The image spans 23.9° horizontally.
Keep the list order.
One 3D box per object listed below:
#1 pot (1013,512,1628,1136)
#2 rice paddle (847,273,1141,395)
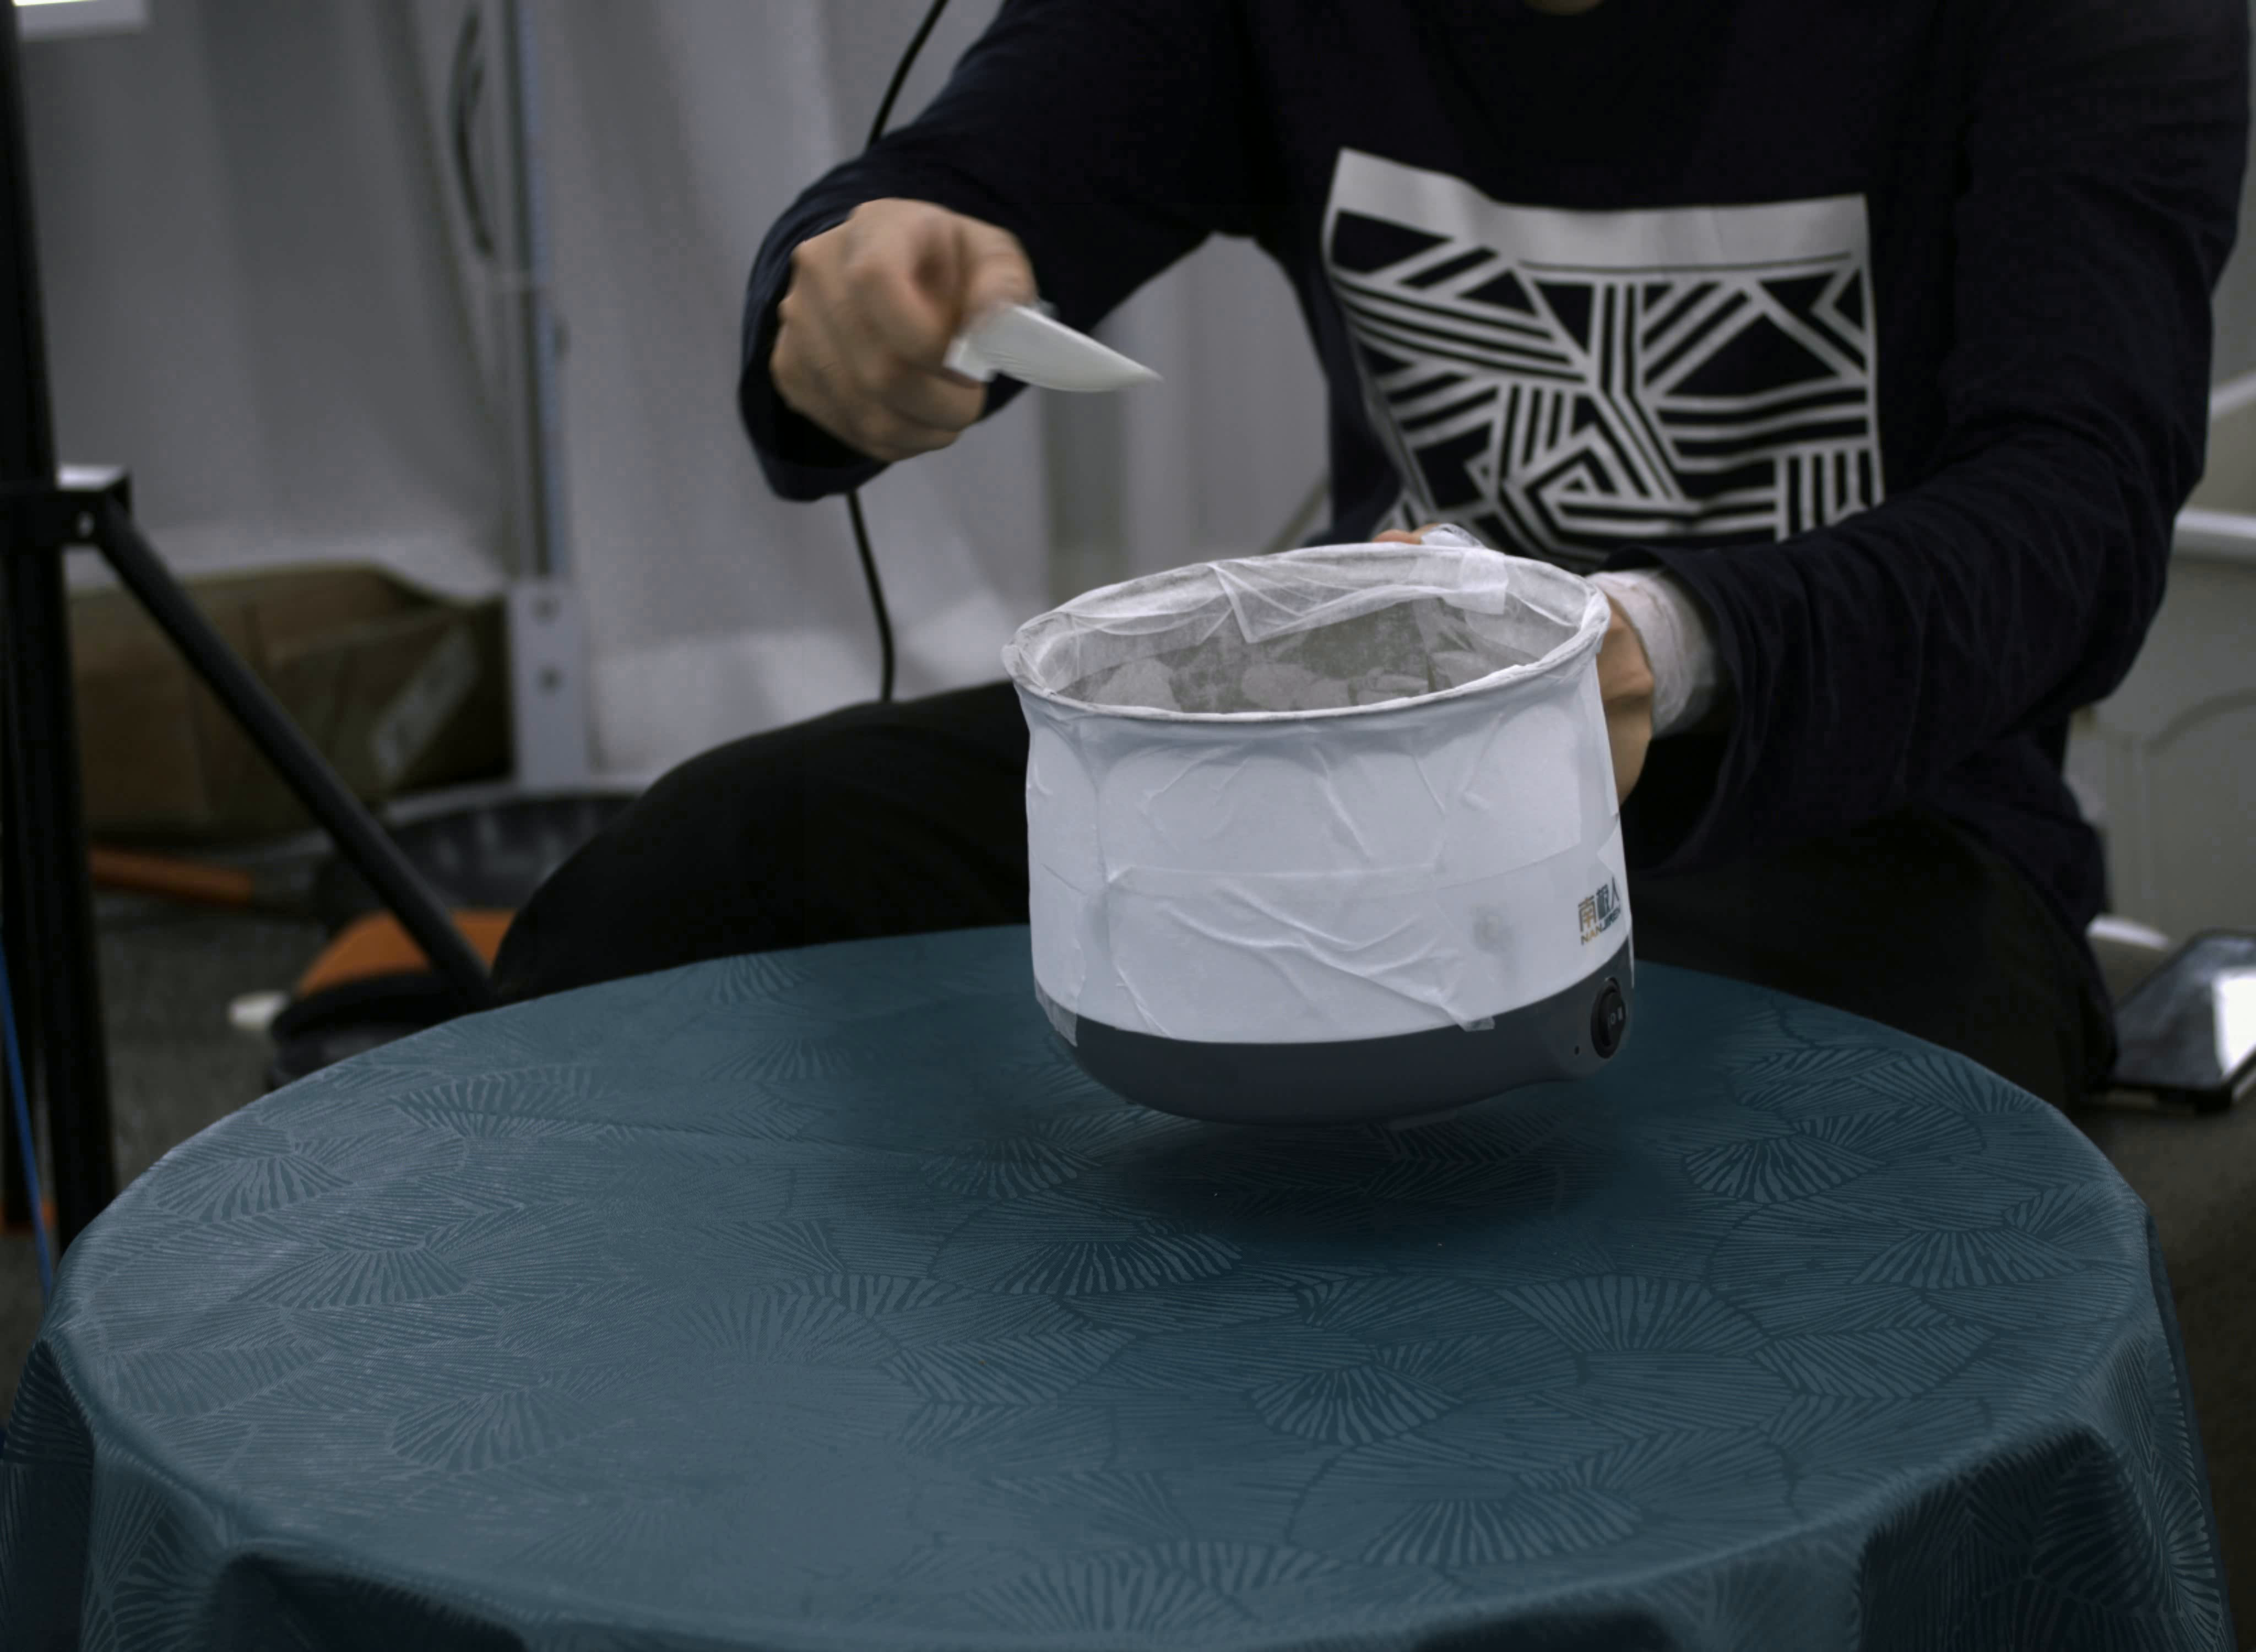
[{"bbox_3d":[0.069,-0.007,1.577,0.181,0.136,0.230,6,22,26],"label":"pot"},{"bbox_3d":[-0.045,-0.146,1.581,0.068,0.029,0.207,24,-4,-15],"label":"rice paddle"}]
